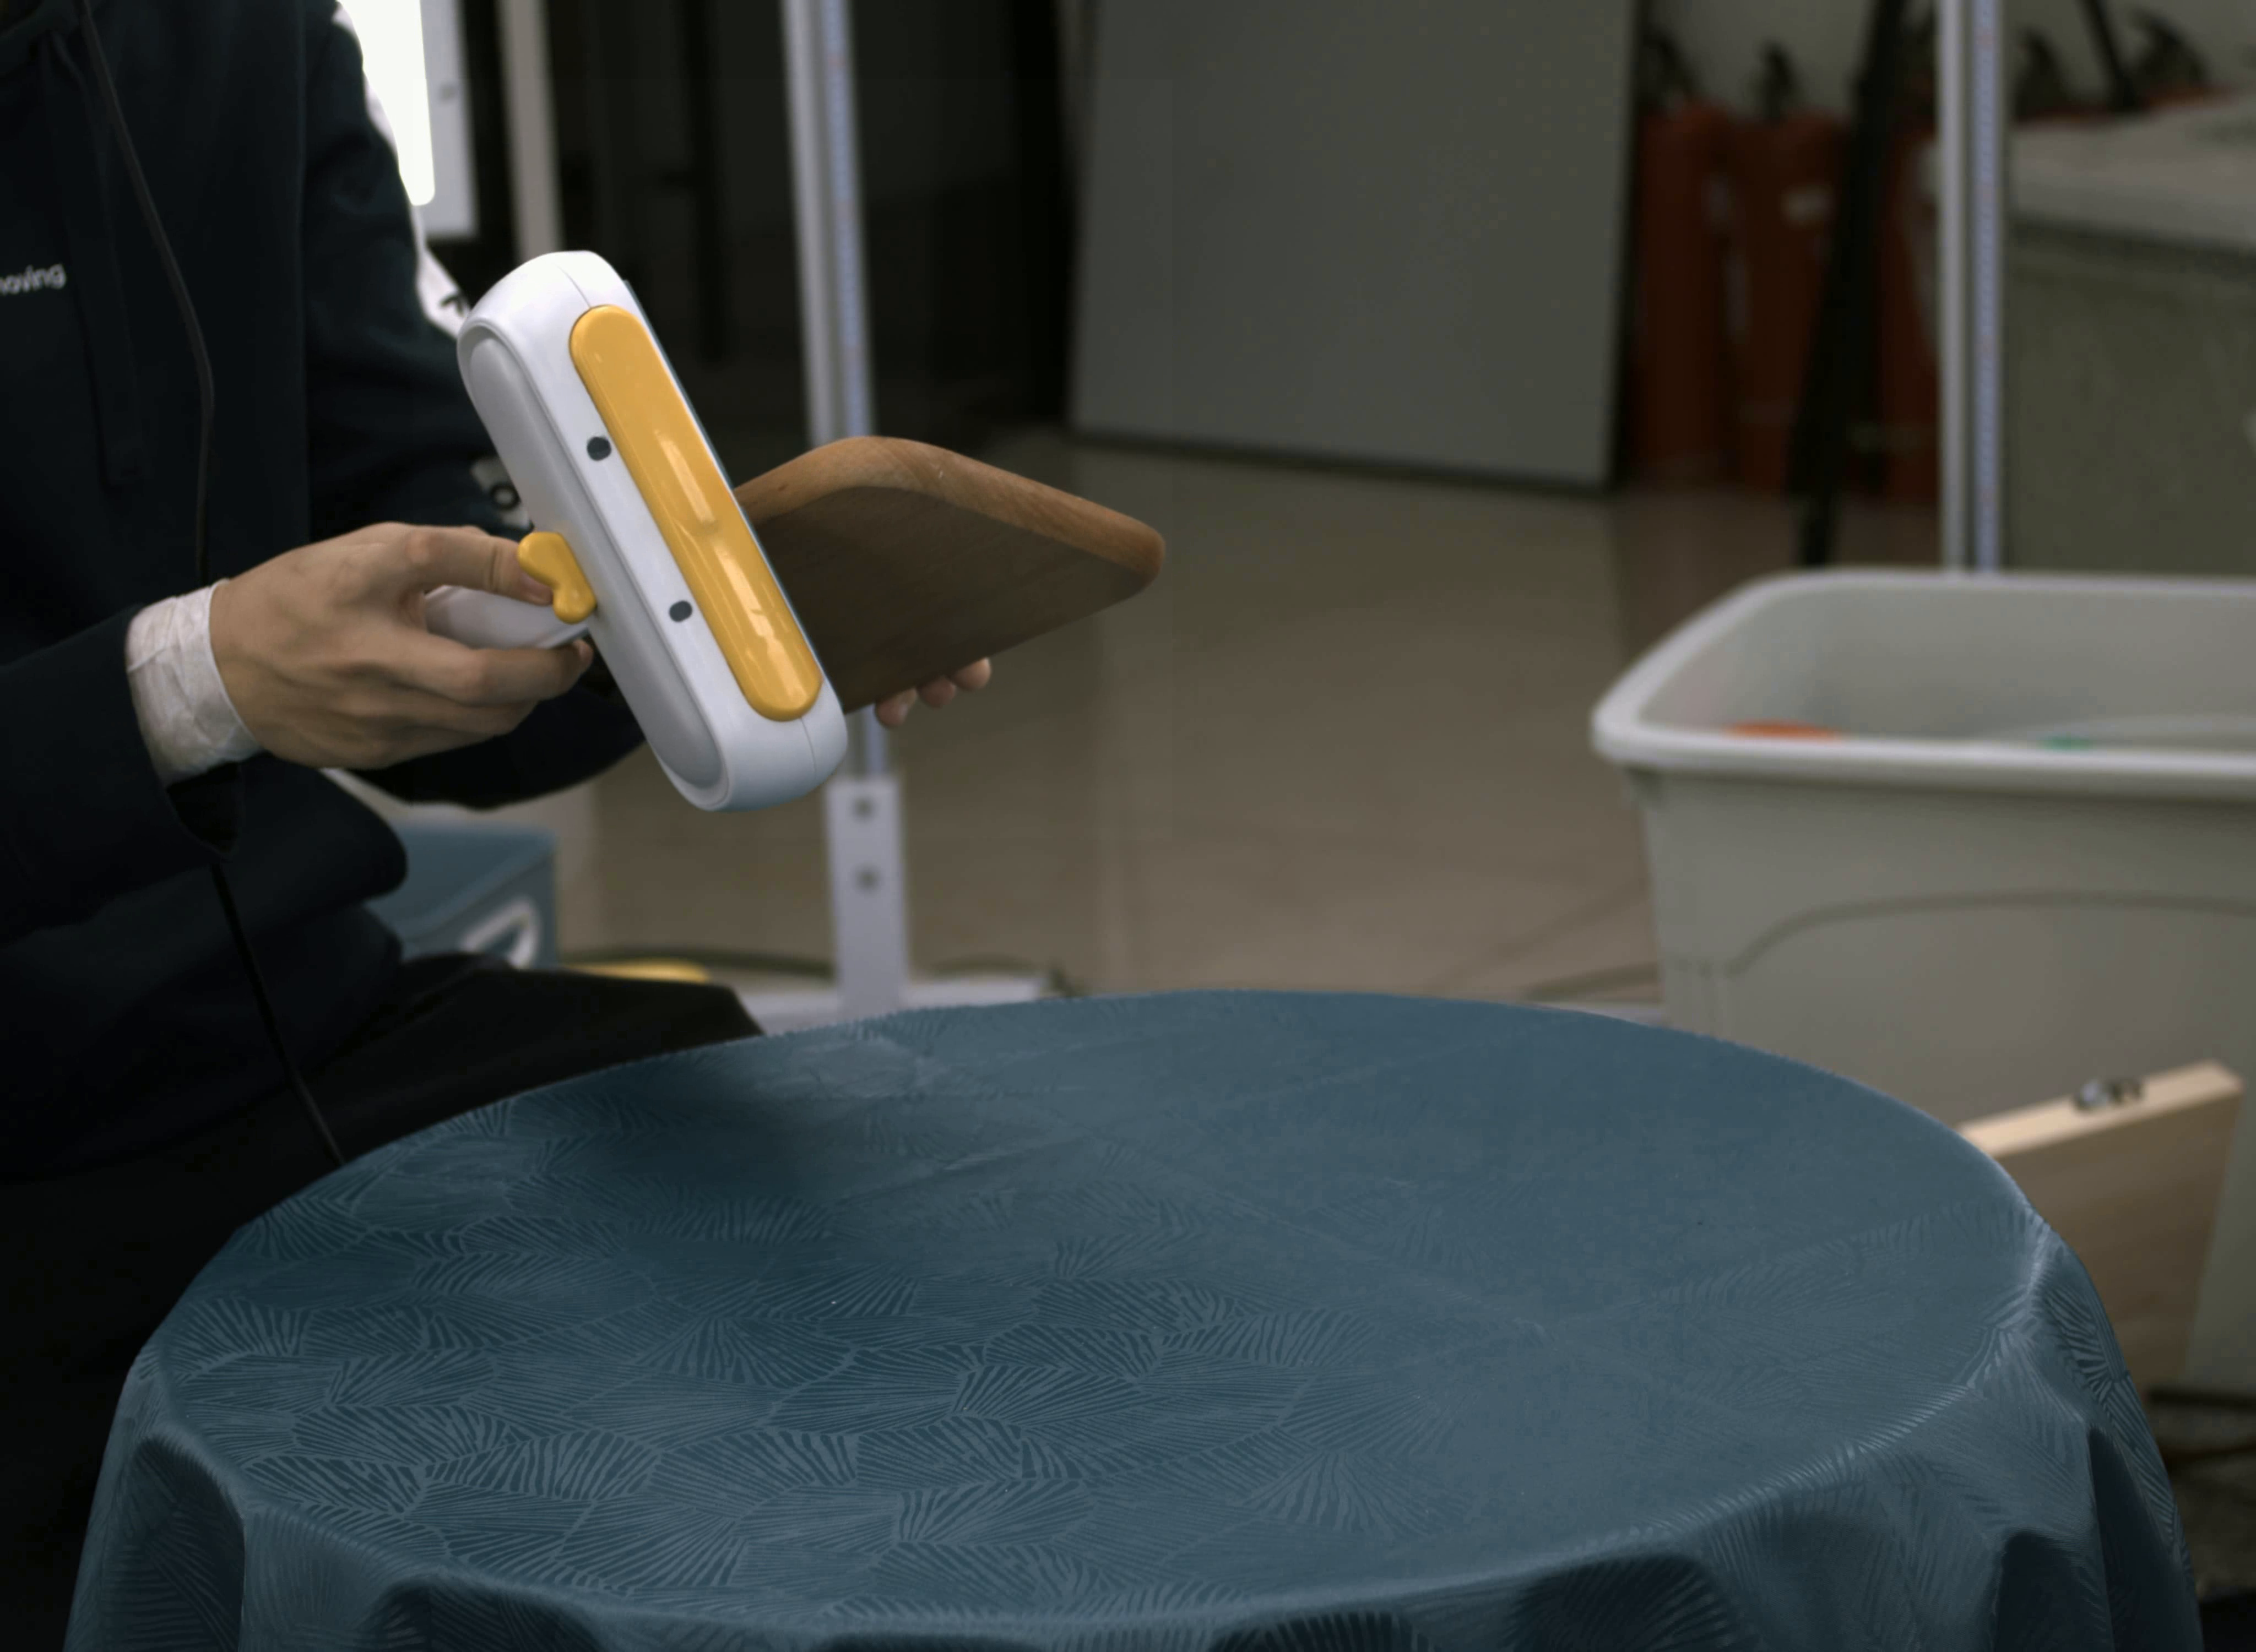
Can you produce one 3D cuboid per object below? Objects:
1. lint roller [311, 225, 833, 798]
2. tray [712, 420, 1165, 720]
[{"bbox_3d":[-0.198,-0.074,1.774,0.073,0.194,0.194,-32,-1,-44],"label":"lint roller"},{"bbox_3d":[-0.095,-0.082,1.820,0.128,0.023,0.253,21,-22,-25],"label":"tray"}]
